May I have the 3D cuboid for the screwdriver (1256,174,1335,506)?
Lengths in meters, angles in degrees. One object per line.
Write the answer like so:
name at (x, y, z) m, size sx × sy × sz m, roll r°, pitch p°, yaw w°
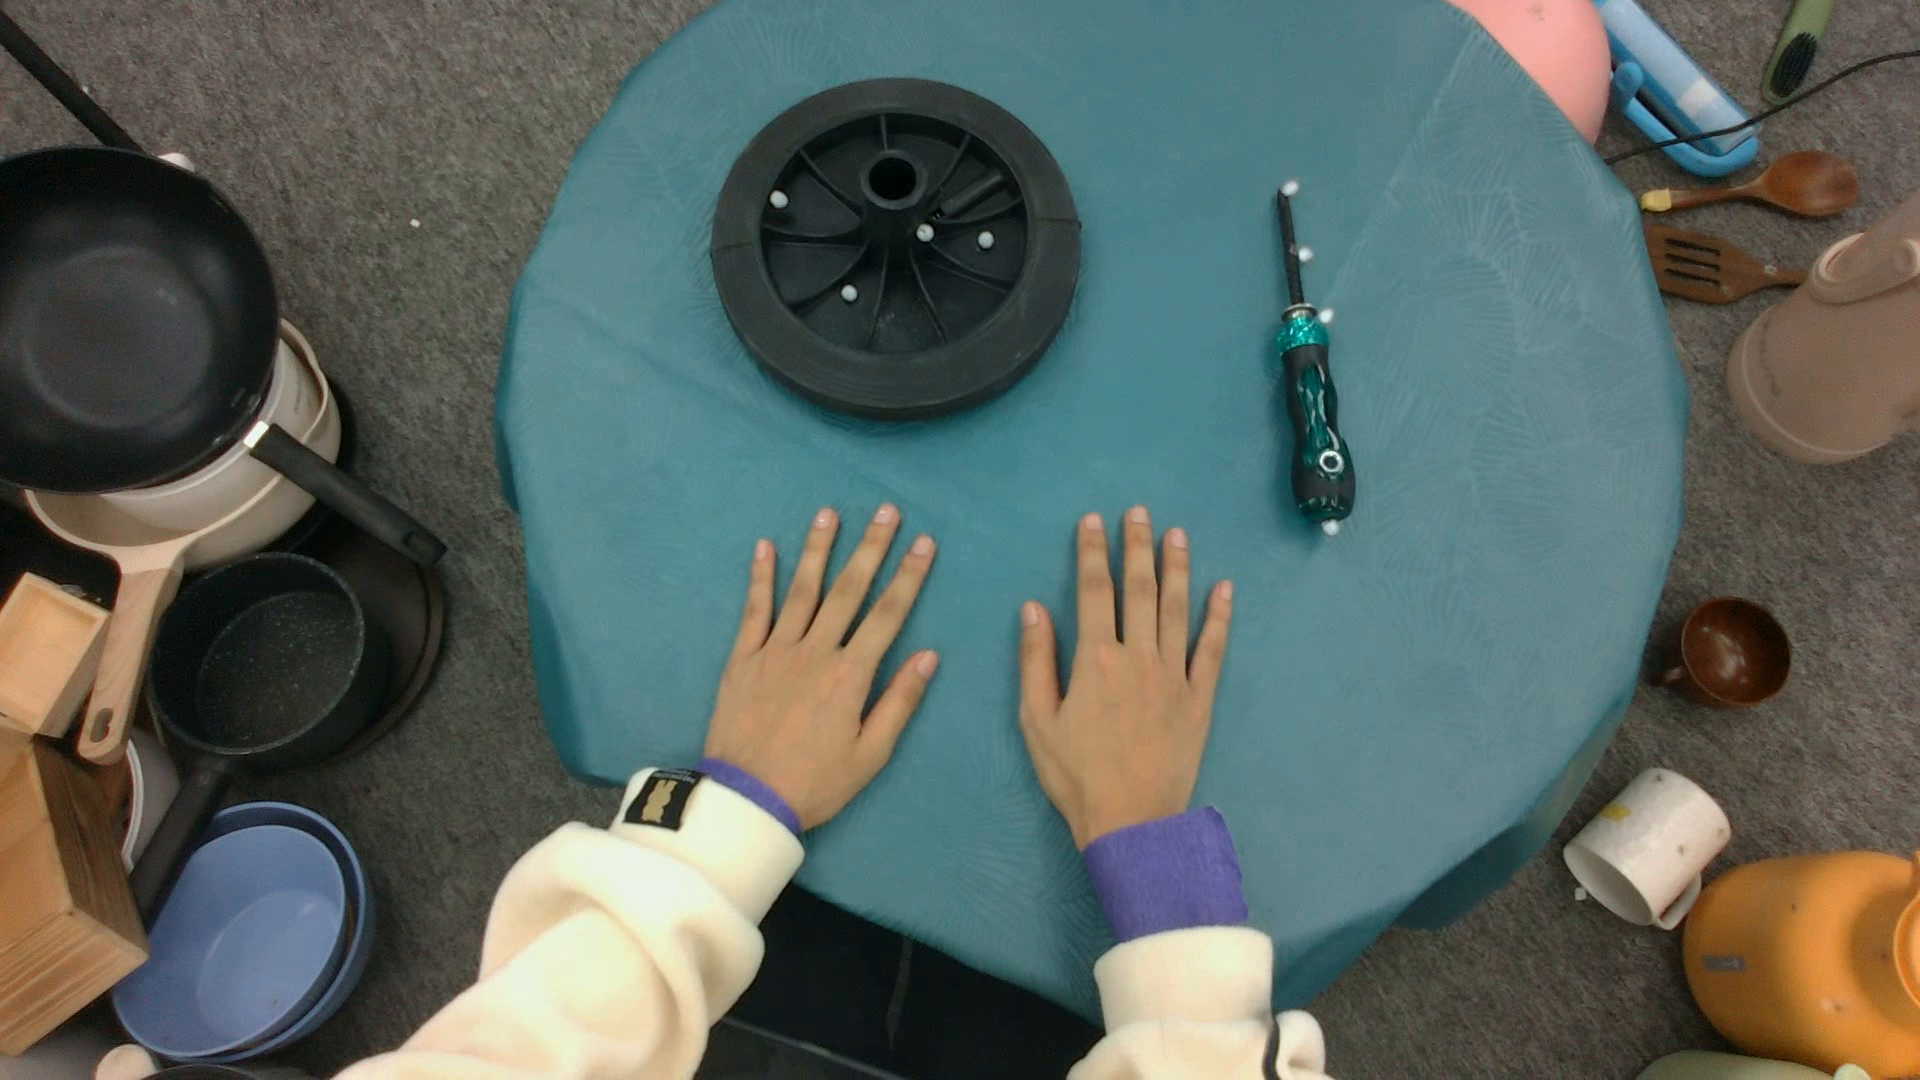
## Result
screwdriver at (0.164, -0.107, 0.702) m, size 0.034 × 0.033 × 0.190 m, roll -2°, pitch 67°, yaw -2°

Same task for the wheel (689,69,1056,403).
wheel at (-0.042, -0.166, 0.685) m, size 0.187 × 0.079 × 0.190 m, roll 29°, pitch 71°, yaw 6°
